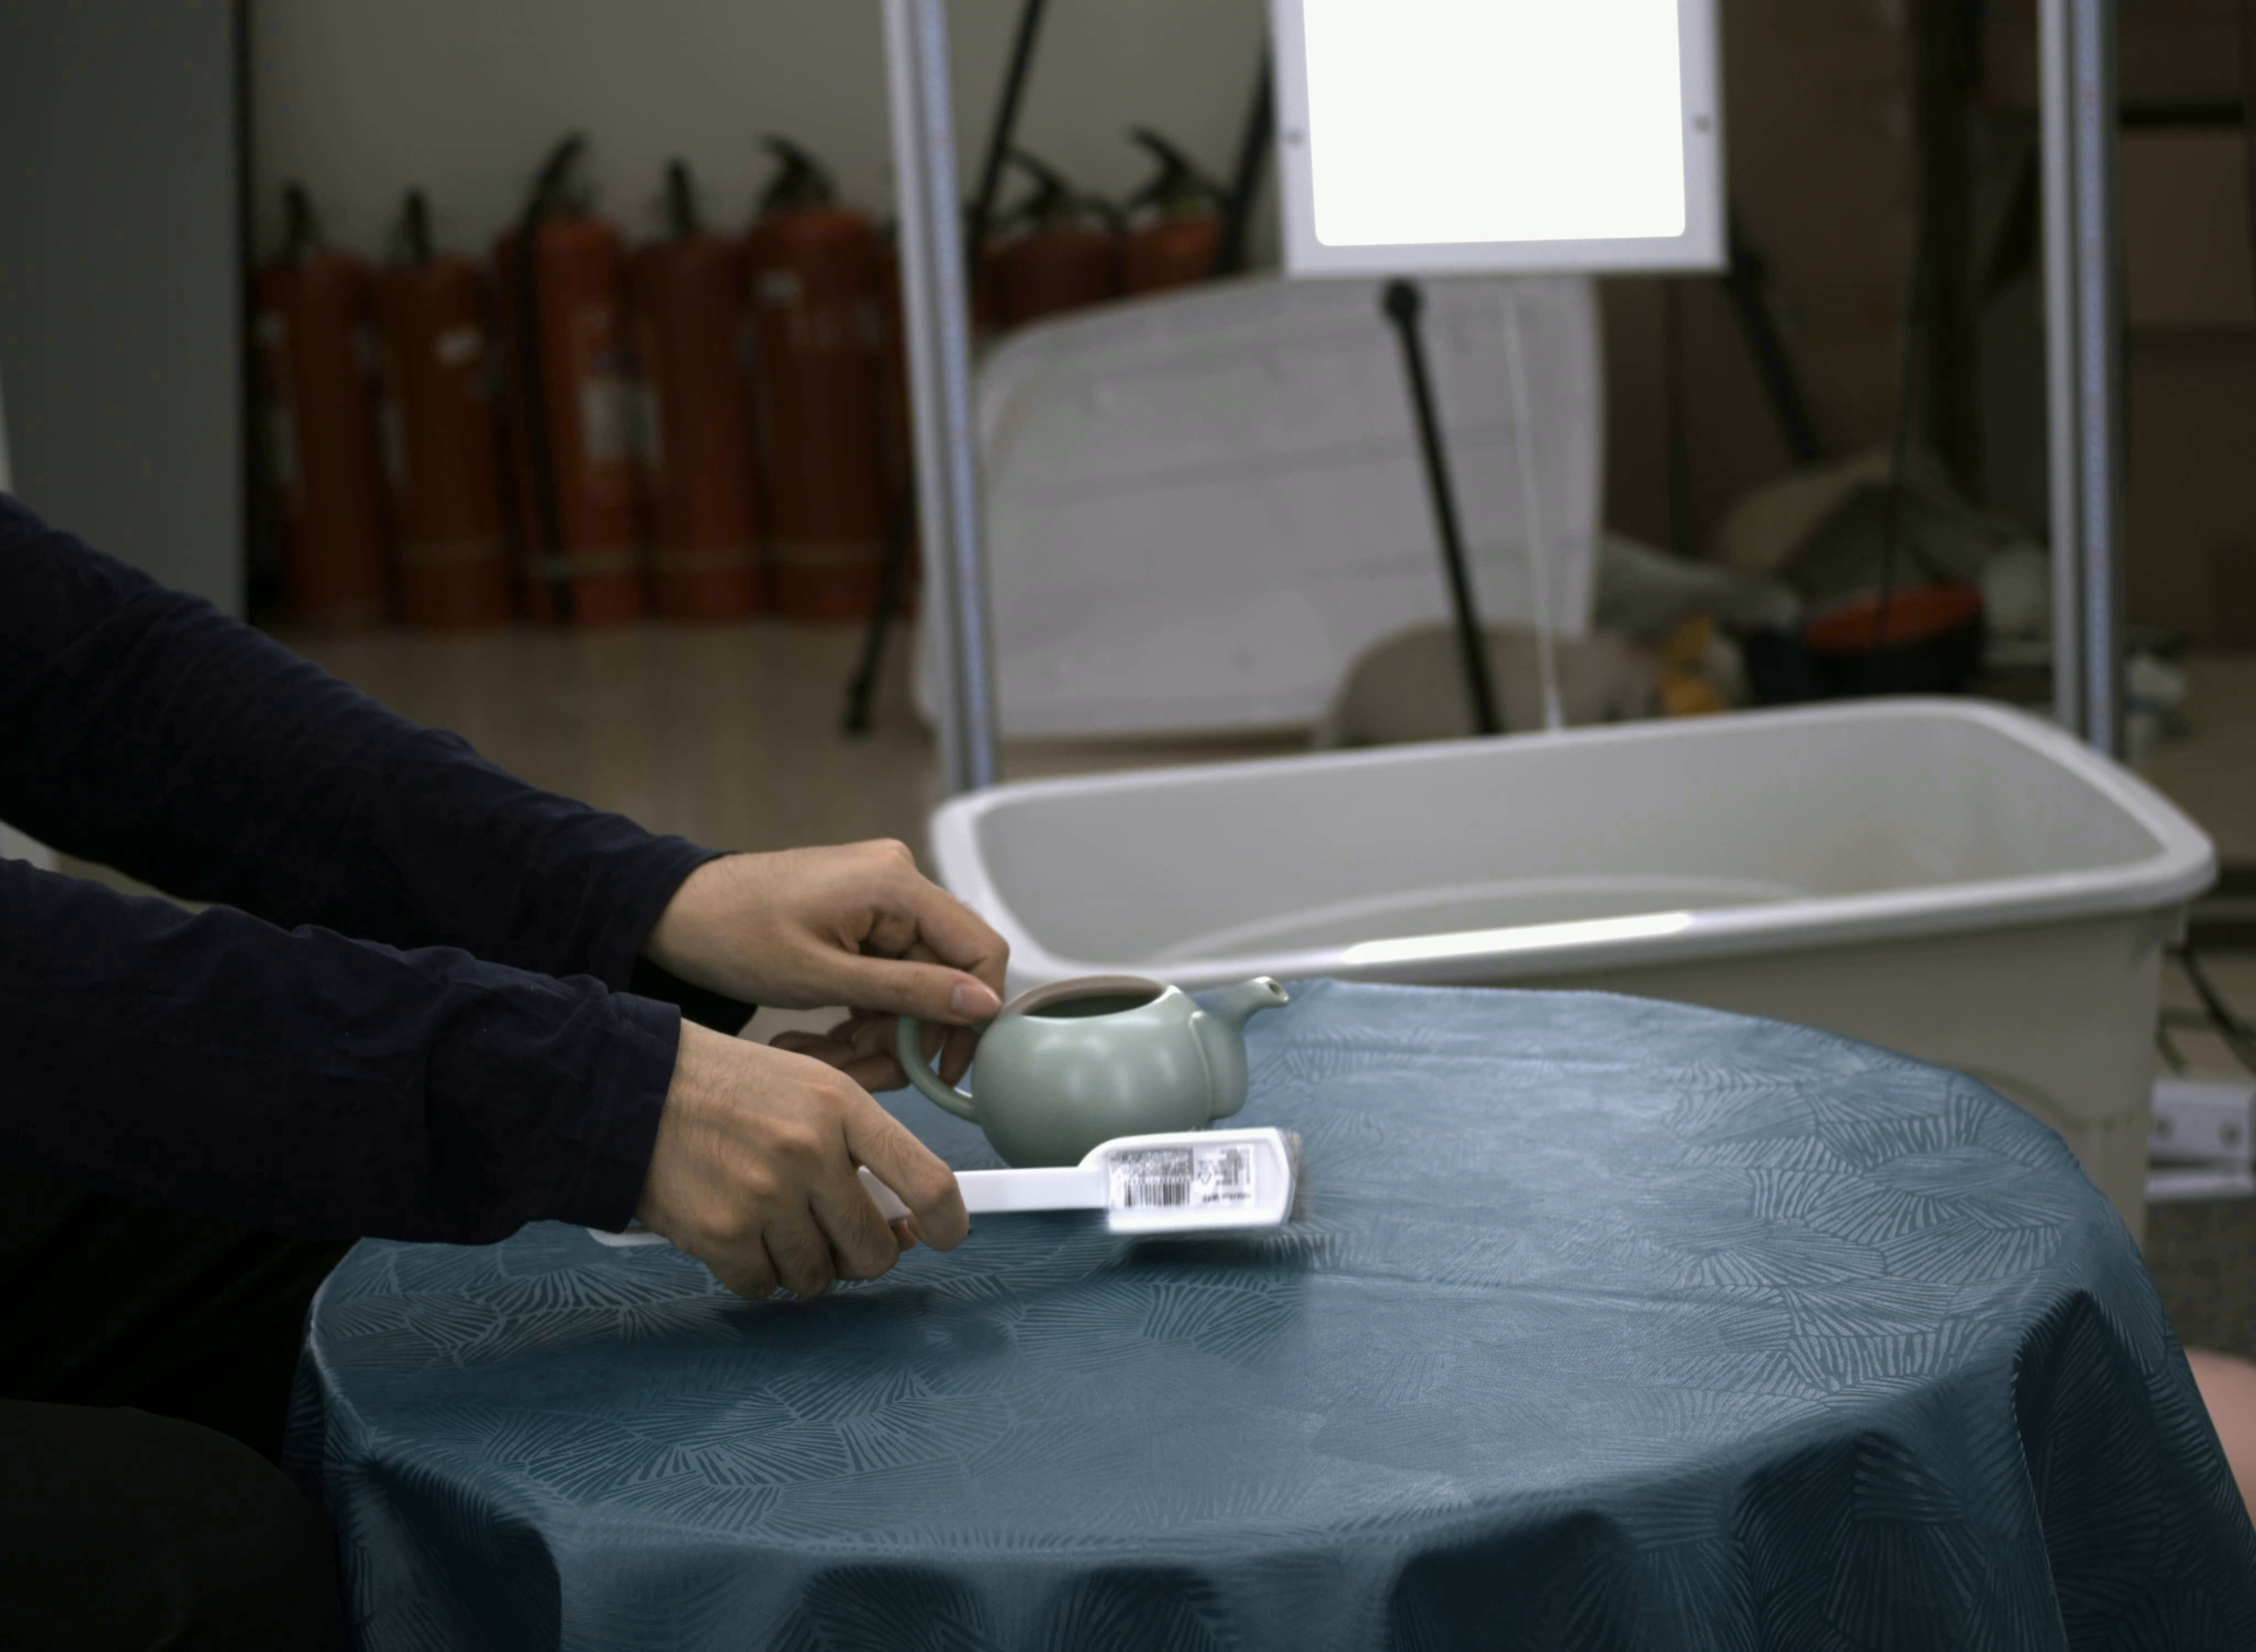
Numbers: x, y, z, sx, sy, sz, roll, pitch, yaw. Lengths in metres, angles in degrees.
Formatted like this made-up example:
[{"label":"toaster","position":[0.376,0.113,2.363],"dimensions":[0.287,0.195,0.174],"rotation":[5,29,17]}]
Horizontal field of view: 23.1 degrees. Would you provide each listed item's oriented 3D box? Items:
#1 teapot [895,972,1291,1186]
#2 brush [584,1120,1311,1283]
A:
[{"label":"teapot","position":[-0.011,0.088,1.911],"dimensions":[0.146,0.075,0.087],"rotation":[1,16,20]},{"label":"brush","position":[-0.058,0.125,1.817],"dimensions":[0.242,0.034,0.050],"rotation":[-7,-2,-4]}]
